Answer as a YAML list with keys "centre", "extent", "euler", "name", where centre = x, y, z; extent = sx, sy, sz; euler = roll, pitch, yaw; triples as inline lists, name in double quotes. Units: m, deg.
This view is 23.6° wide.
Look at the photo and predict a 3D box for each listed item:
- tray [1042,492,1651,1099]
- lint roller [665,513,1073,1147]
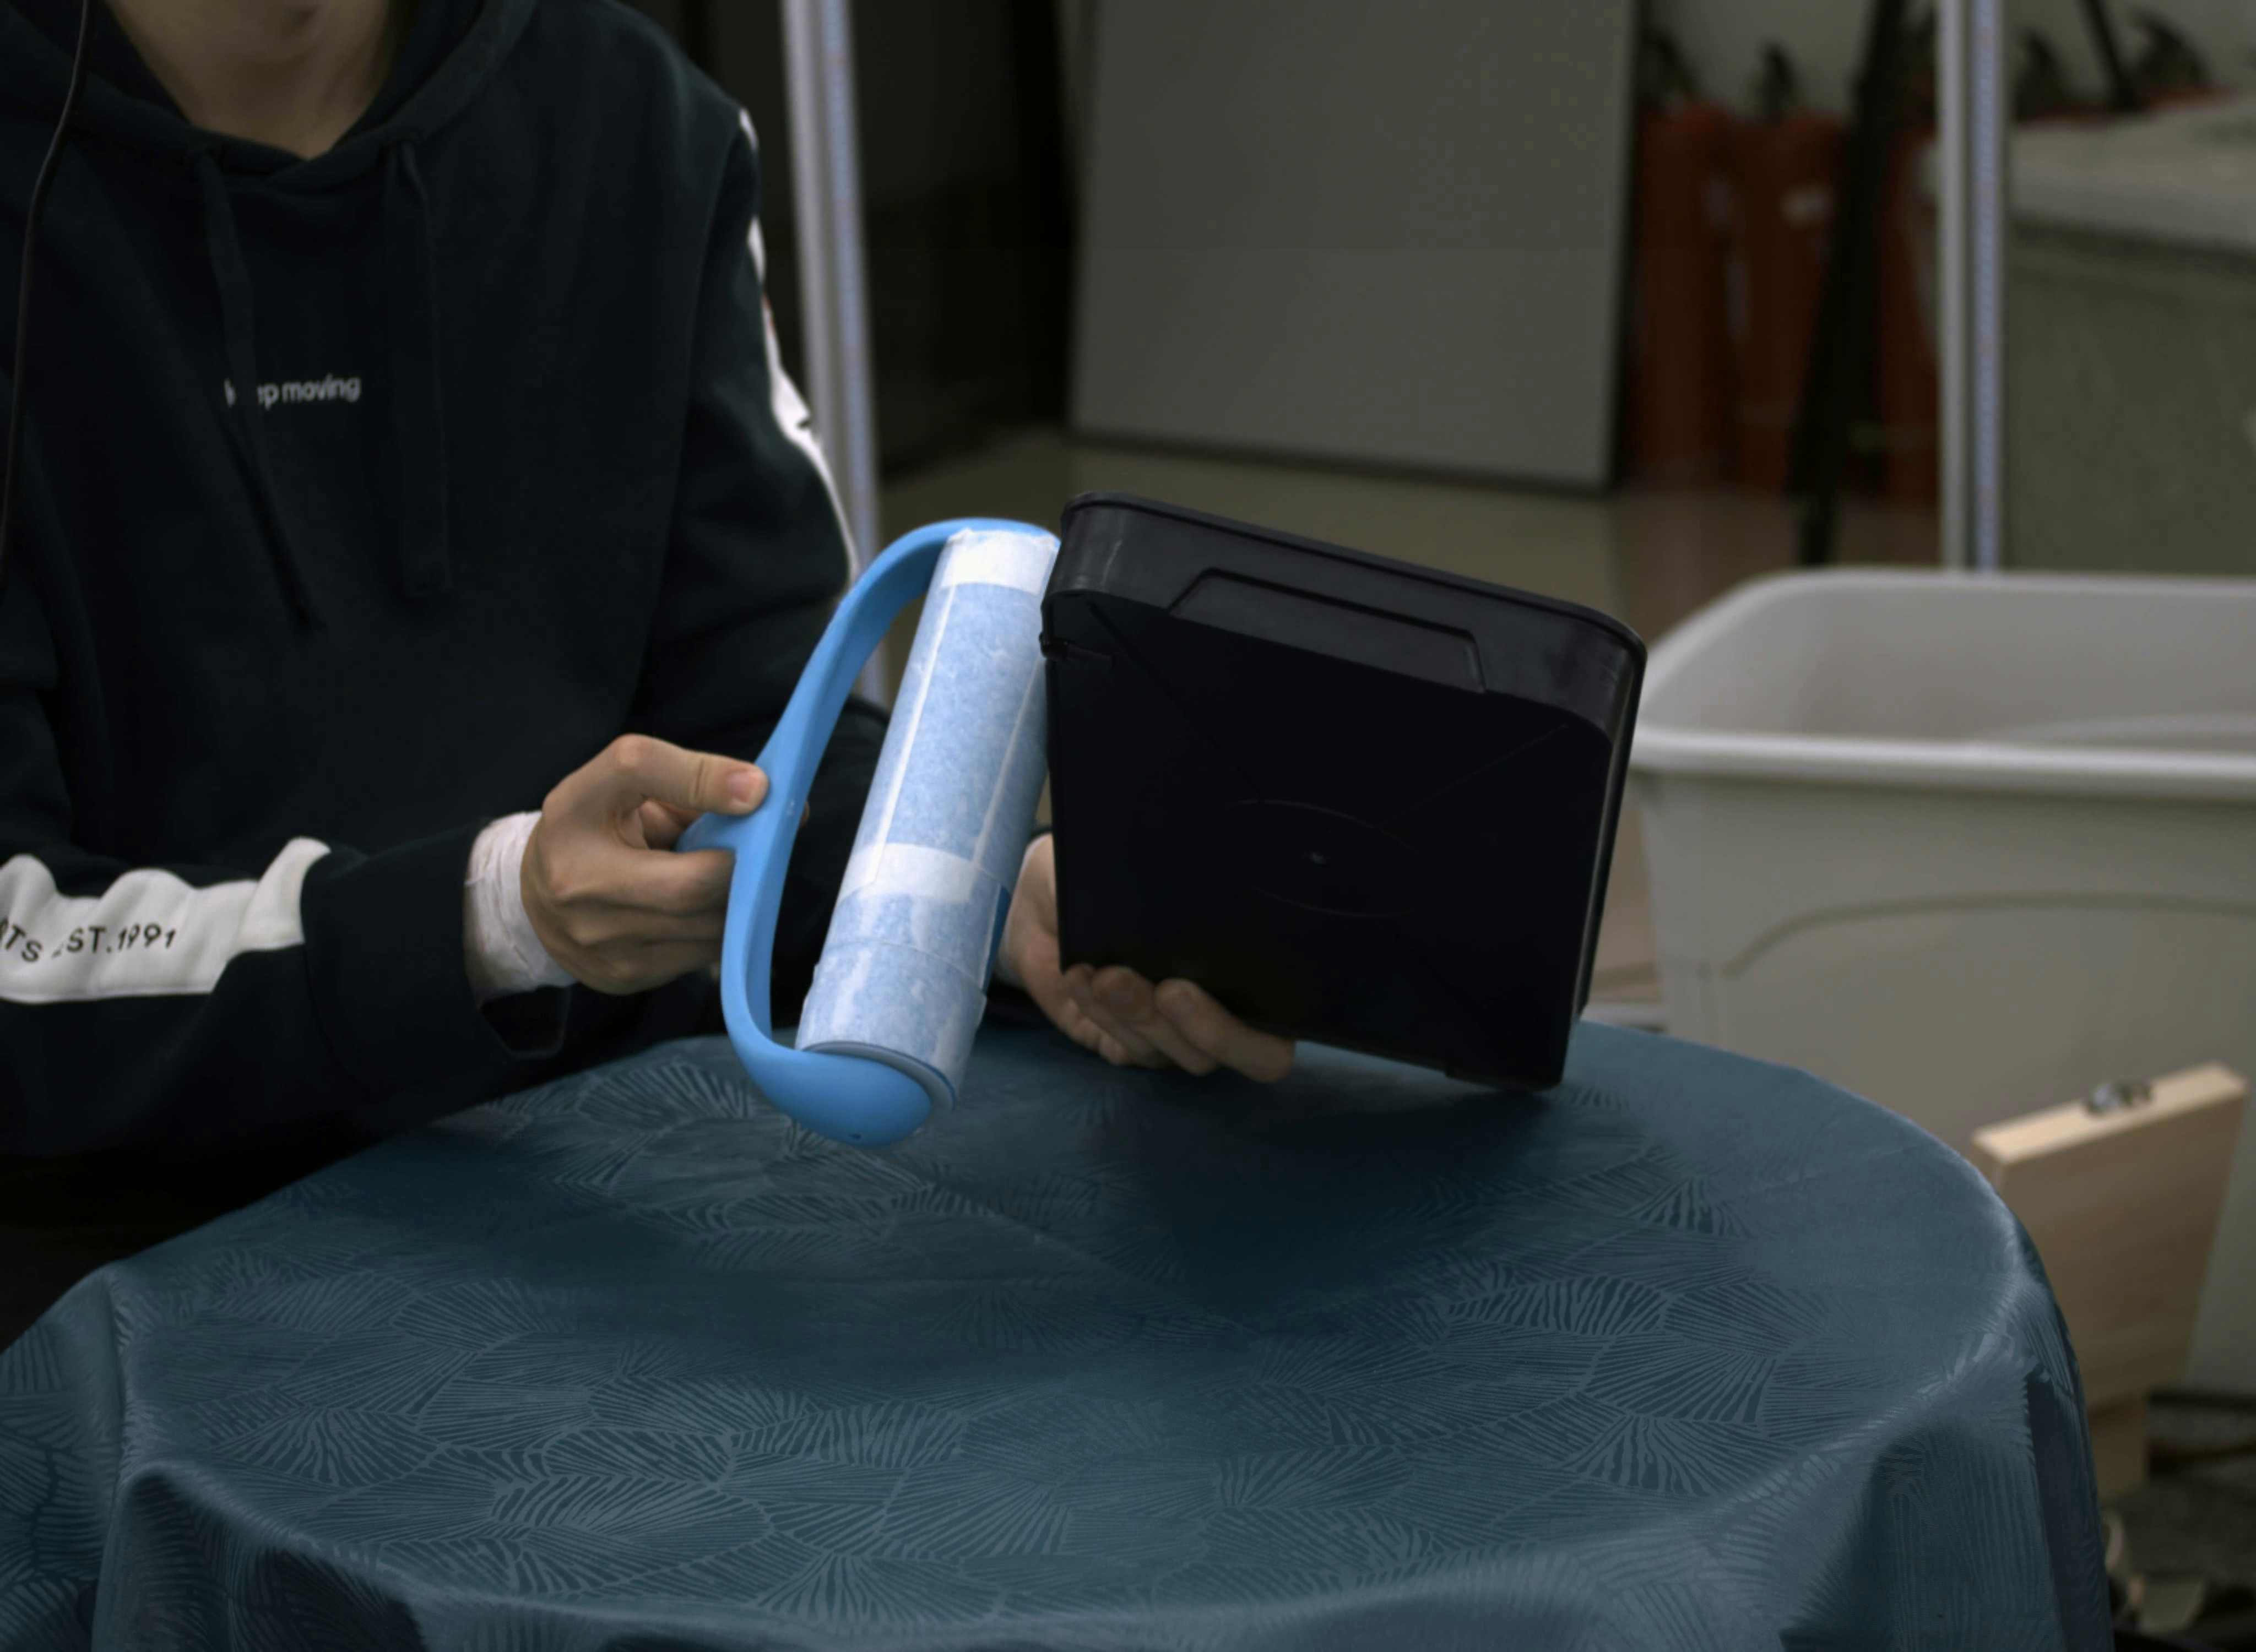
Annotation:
- centre: [0.064, -0.002, 1.729]
  extent: [0.183, 0.037, 0.318]
  euler: [14, -24, 7]
  name: "tray"
- centre: [-0.101, 0.012, 1.738]
  extent: [0.181, 0.230, 0.067]
  euler: [-18, -43, 39]
  name: "lint roller"
